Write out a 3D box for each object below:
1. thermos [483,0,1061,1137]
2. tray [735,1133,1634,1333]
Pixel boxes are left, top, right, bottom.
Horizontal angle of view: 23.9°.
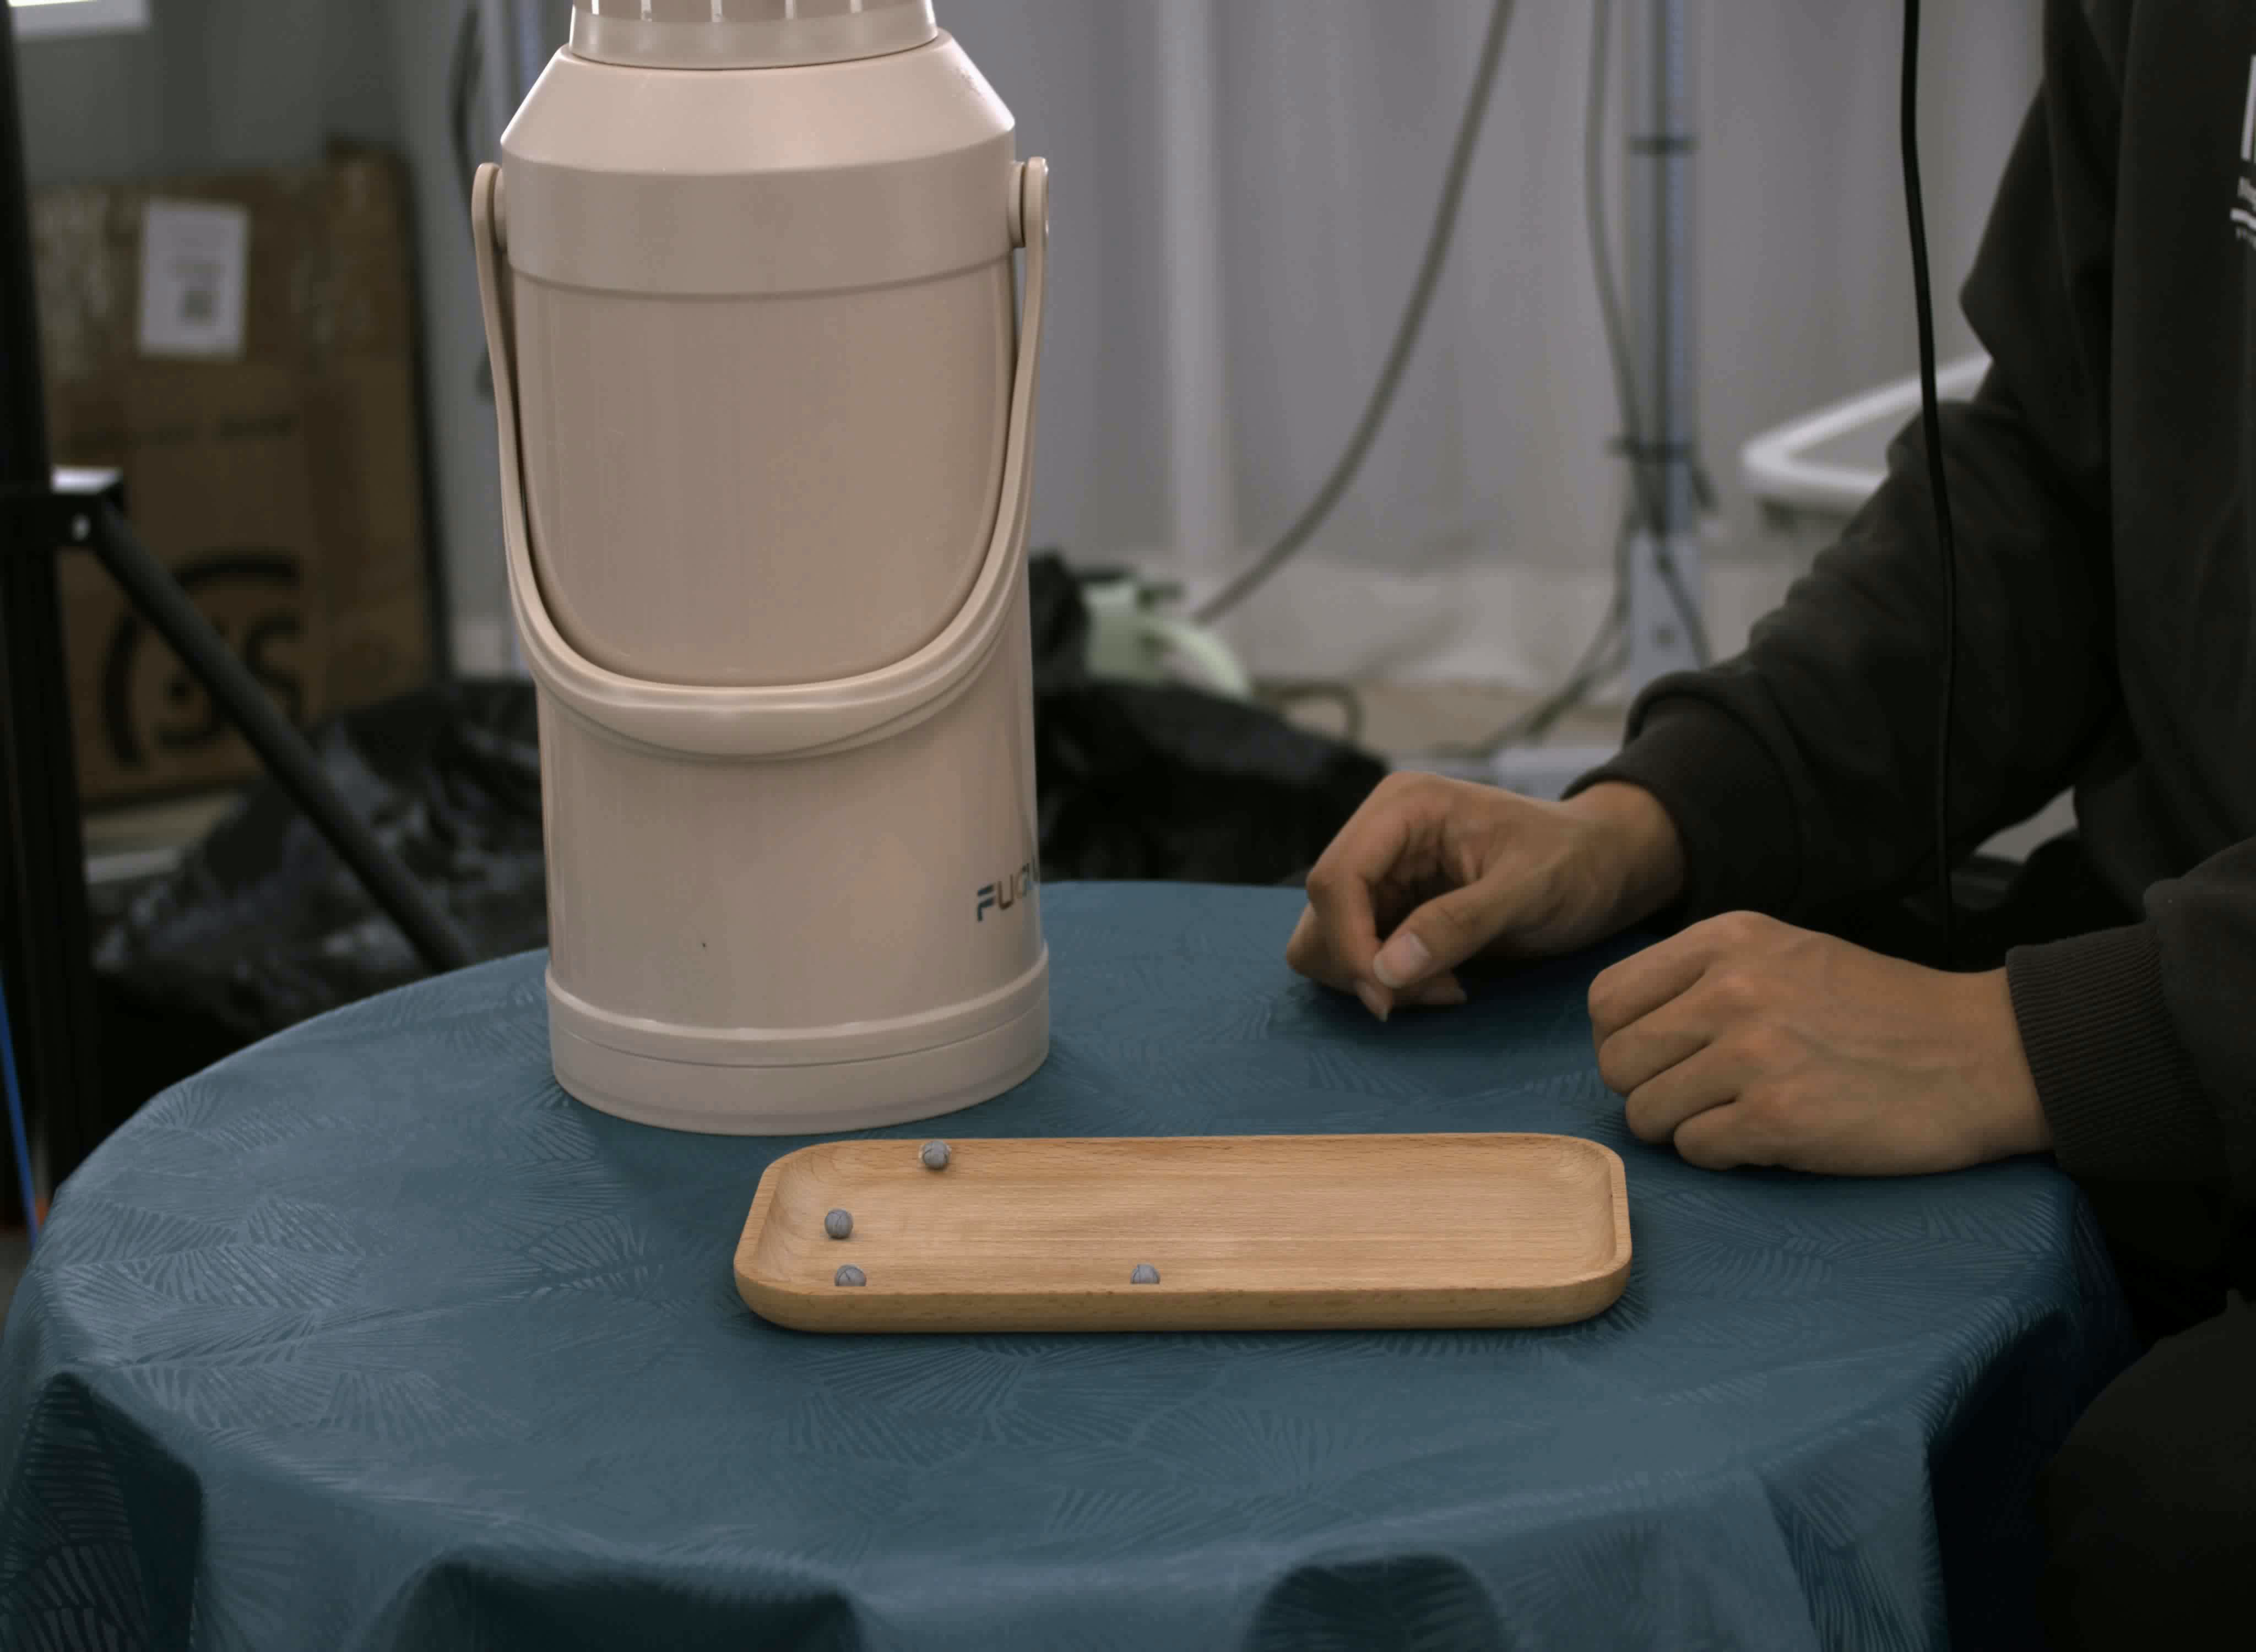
[{"bbox_3d":[-0.104,-0.122,1.661,0.175,0.406,0.207,-1,15,7],"label":"thermos"},{"bbox_3d":[0.018,0.115,1.503,0.251,0.023,0.130,0,18,6],"label":"tray"}]
